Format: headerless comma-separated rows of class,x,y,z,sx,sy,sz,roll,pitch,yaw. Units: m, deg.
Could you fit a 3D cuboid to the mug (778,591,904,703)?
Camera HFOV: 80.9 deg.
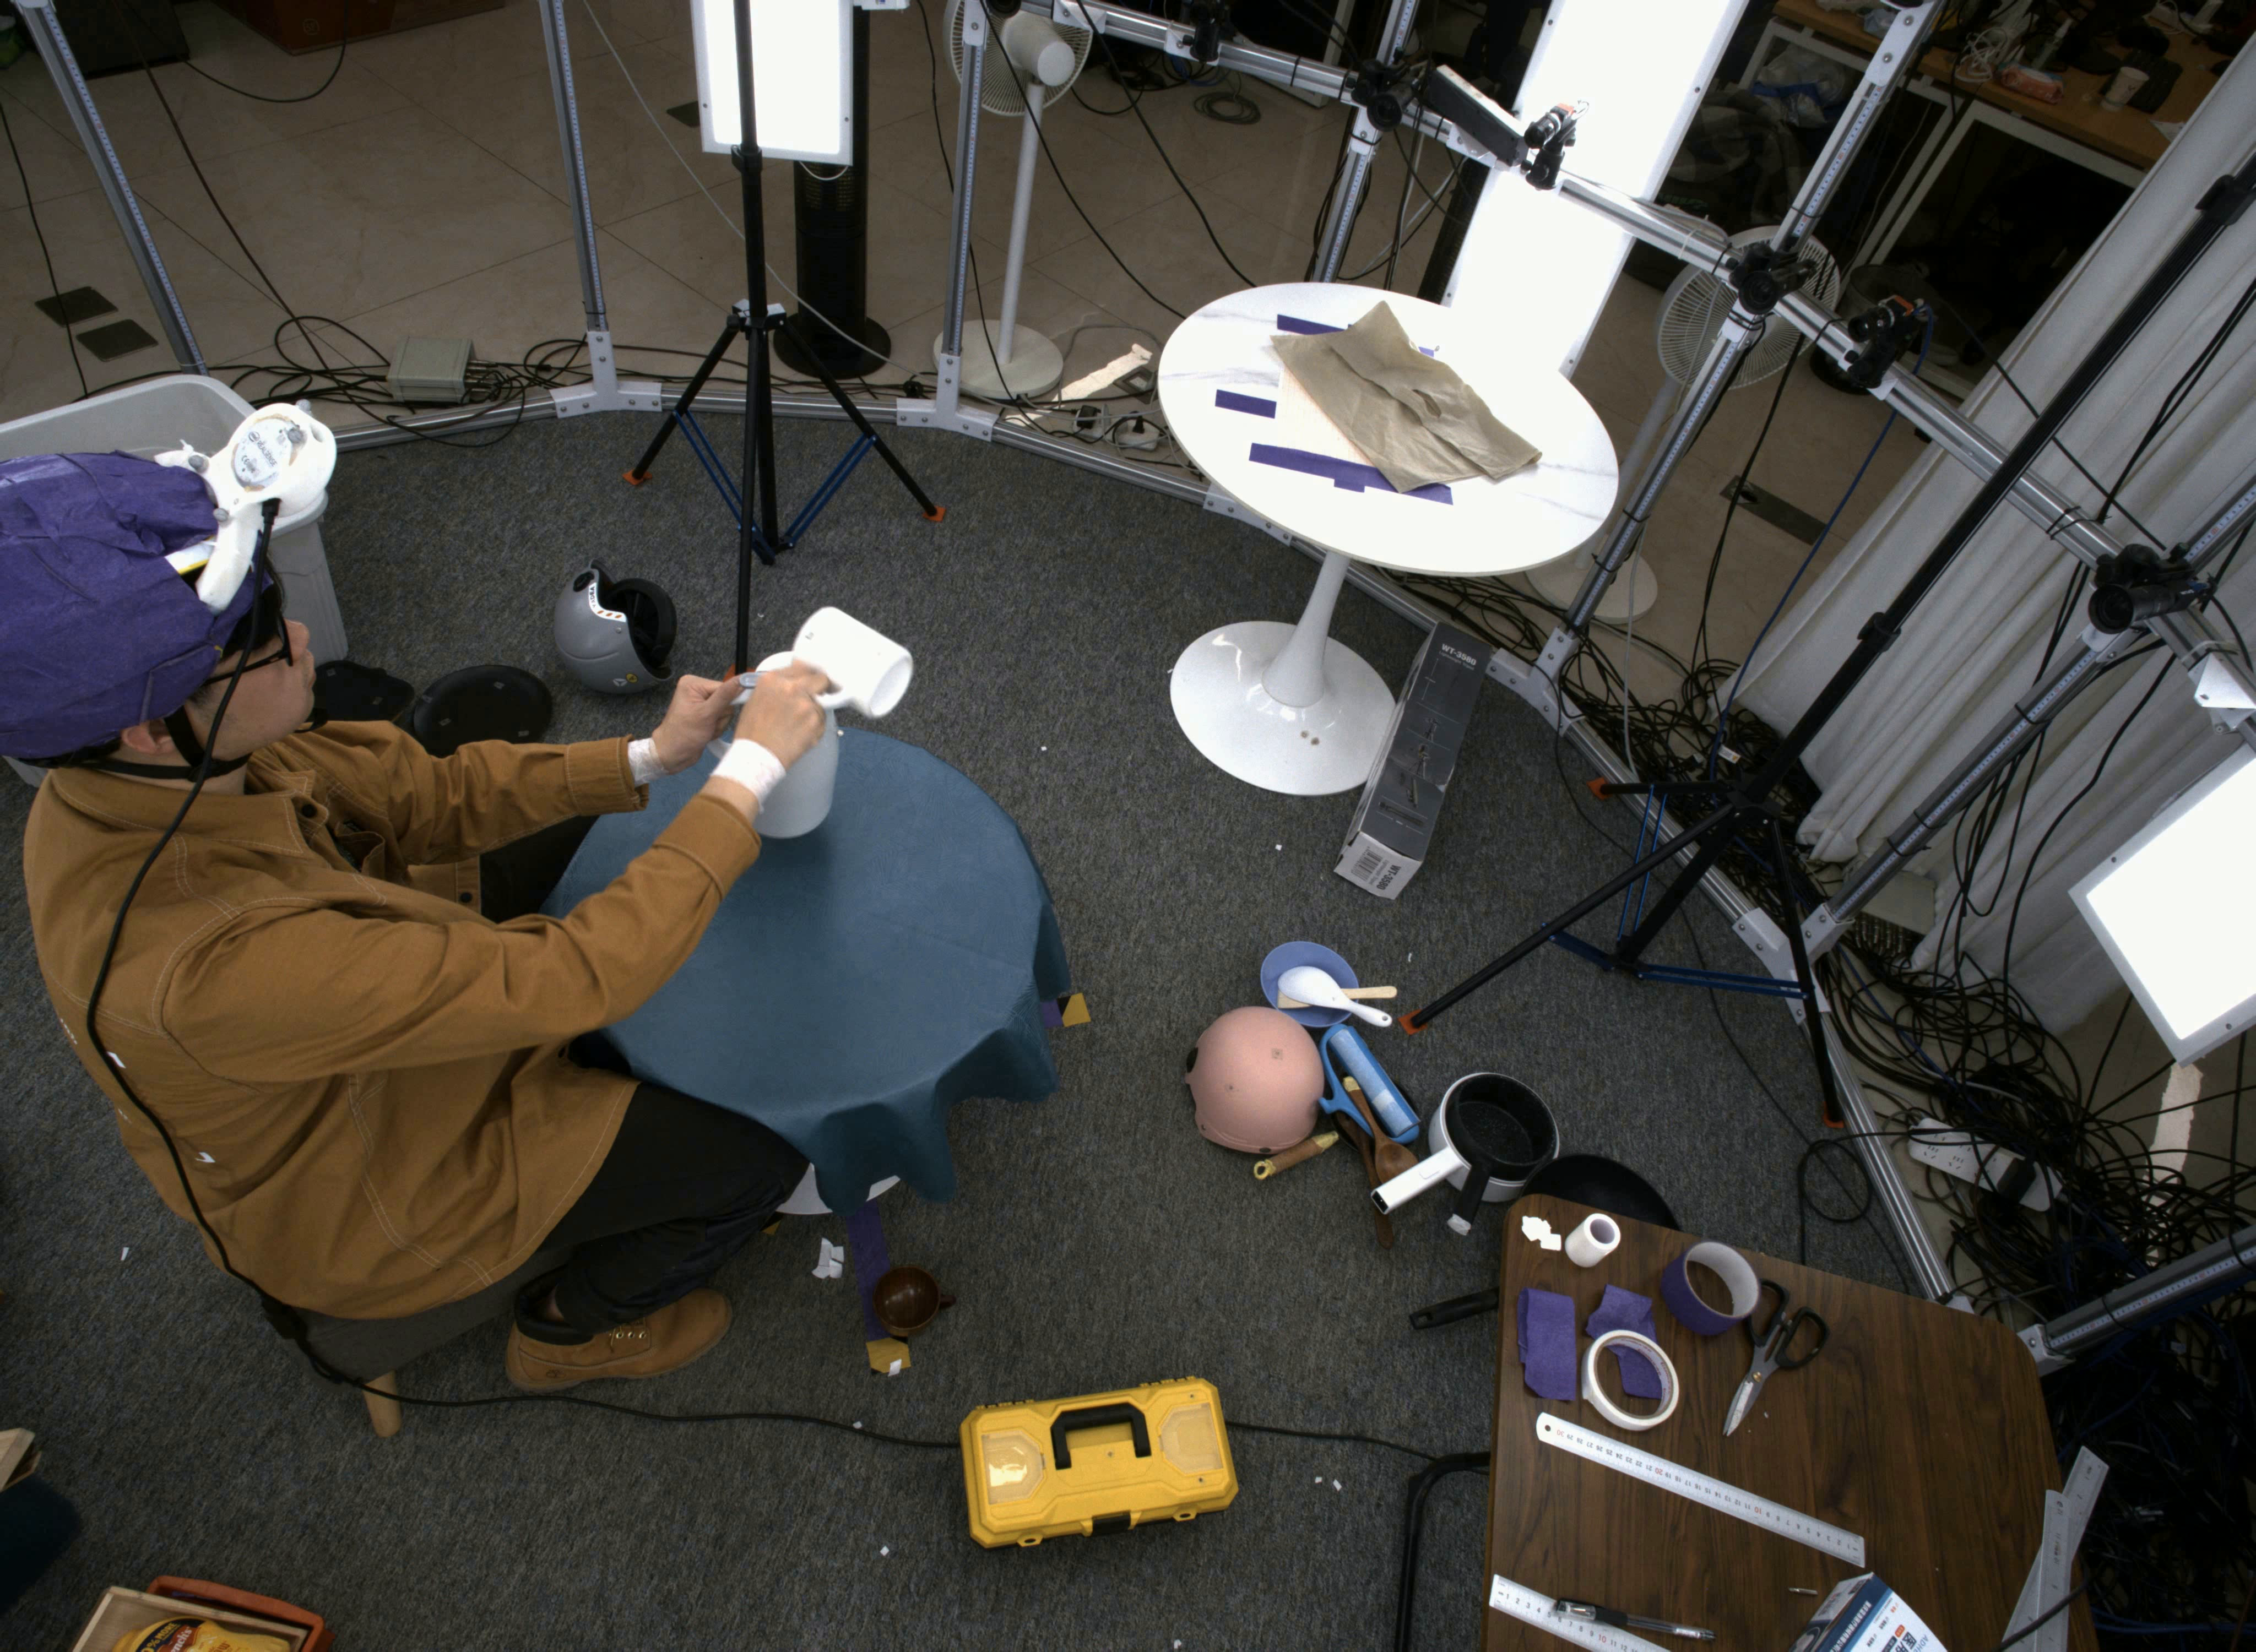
mug,-0.309,-0.179,1.364,0.099,0.087,0.118,28,47,15

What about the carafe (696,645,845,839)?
carafe,-0.431,-0.106,1.547,0.169,0.251,0.130,1,59,-18
